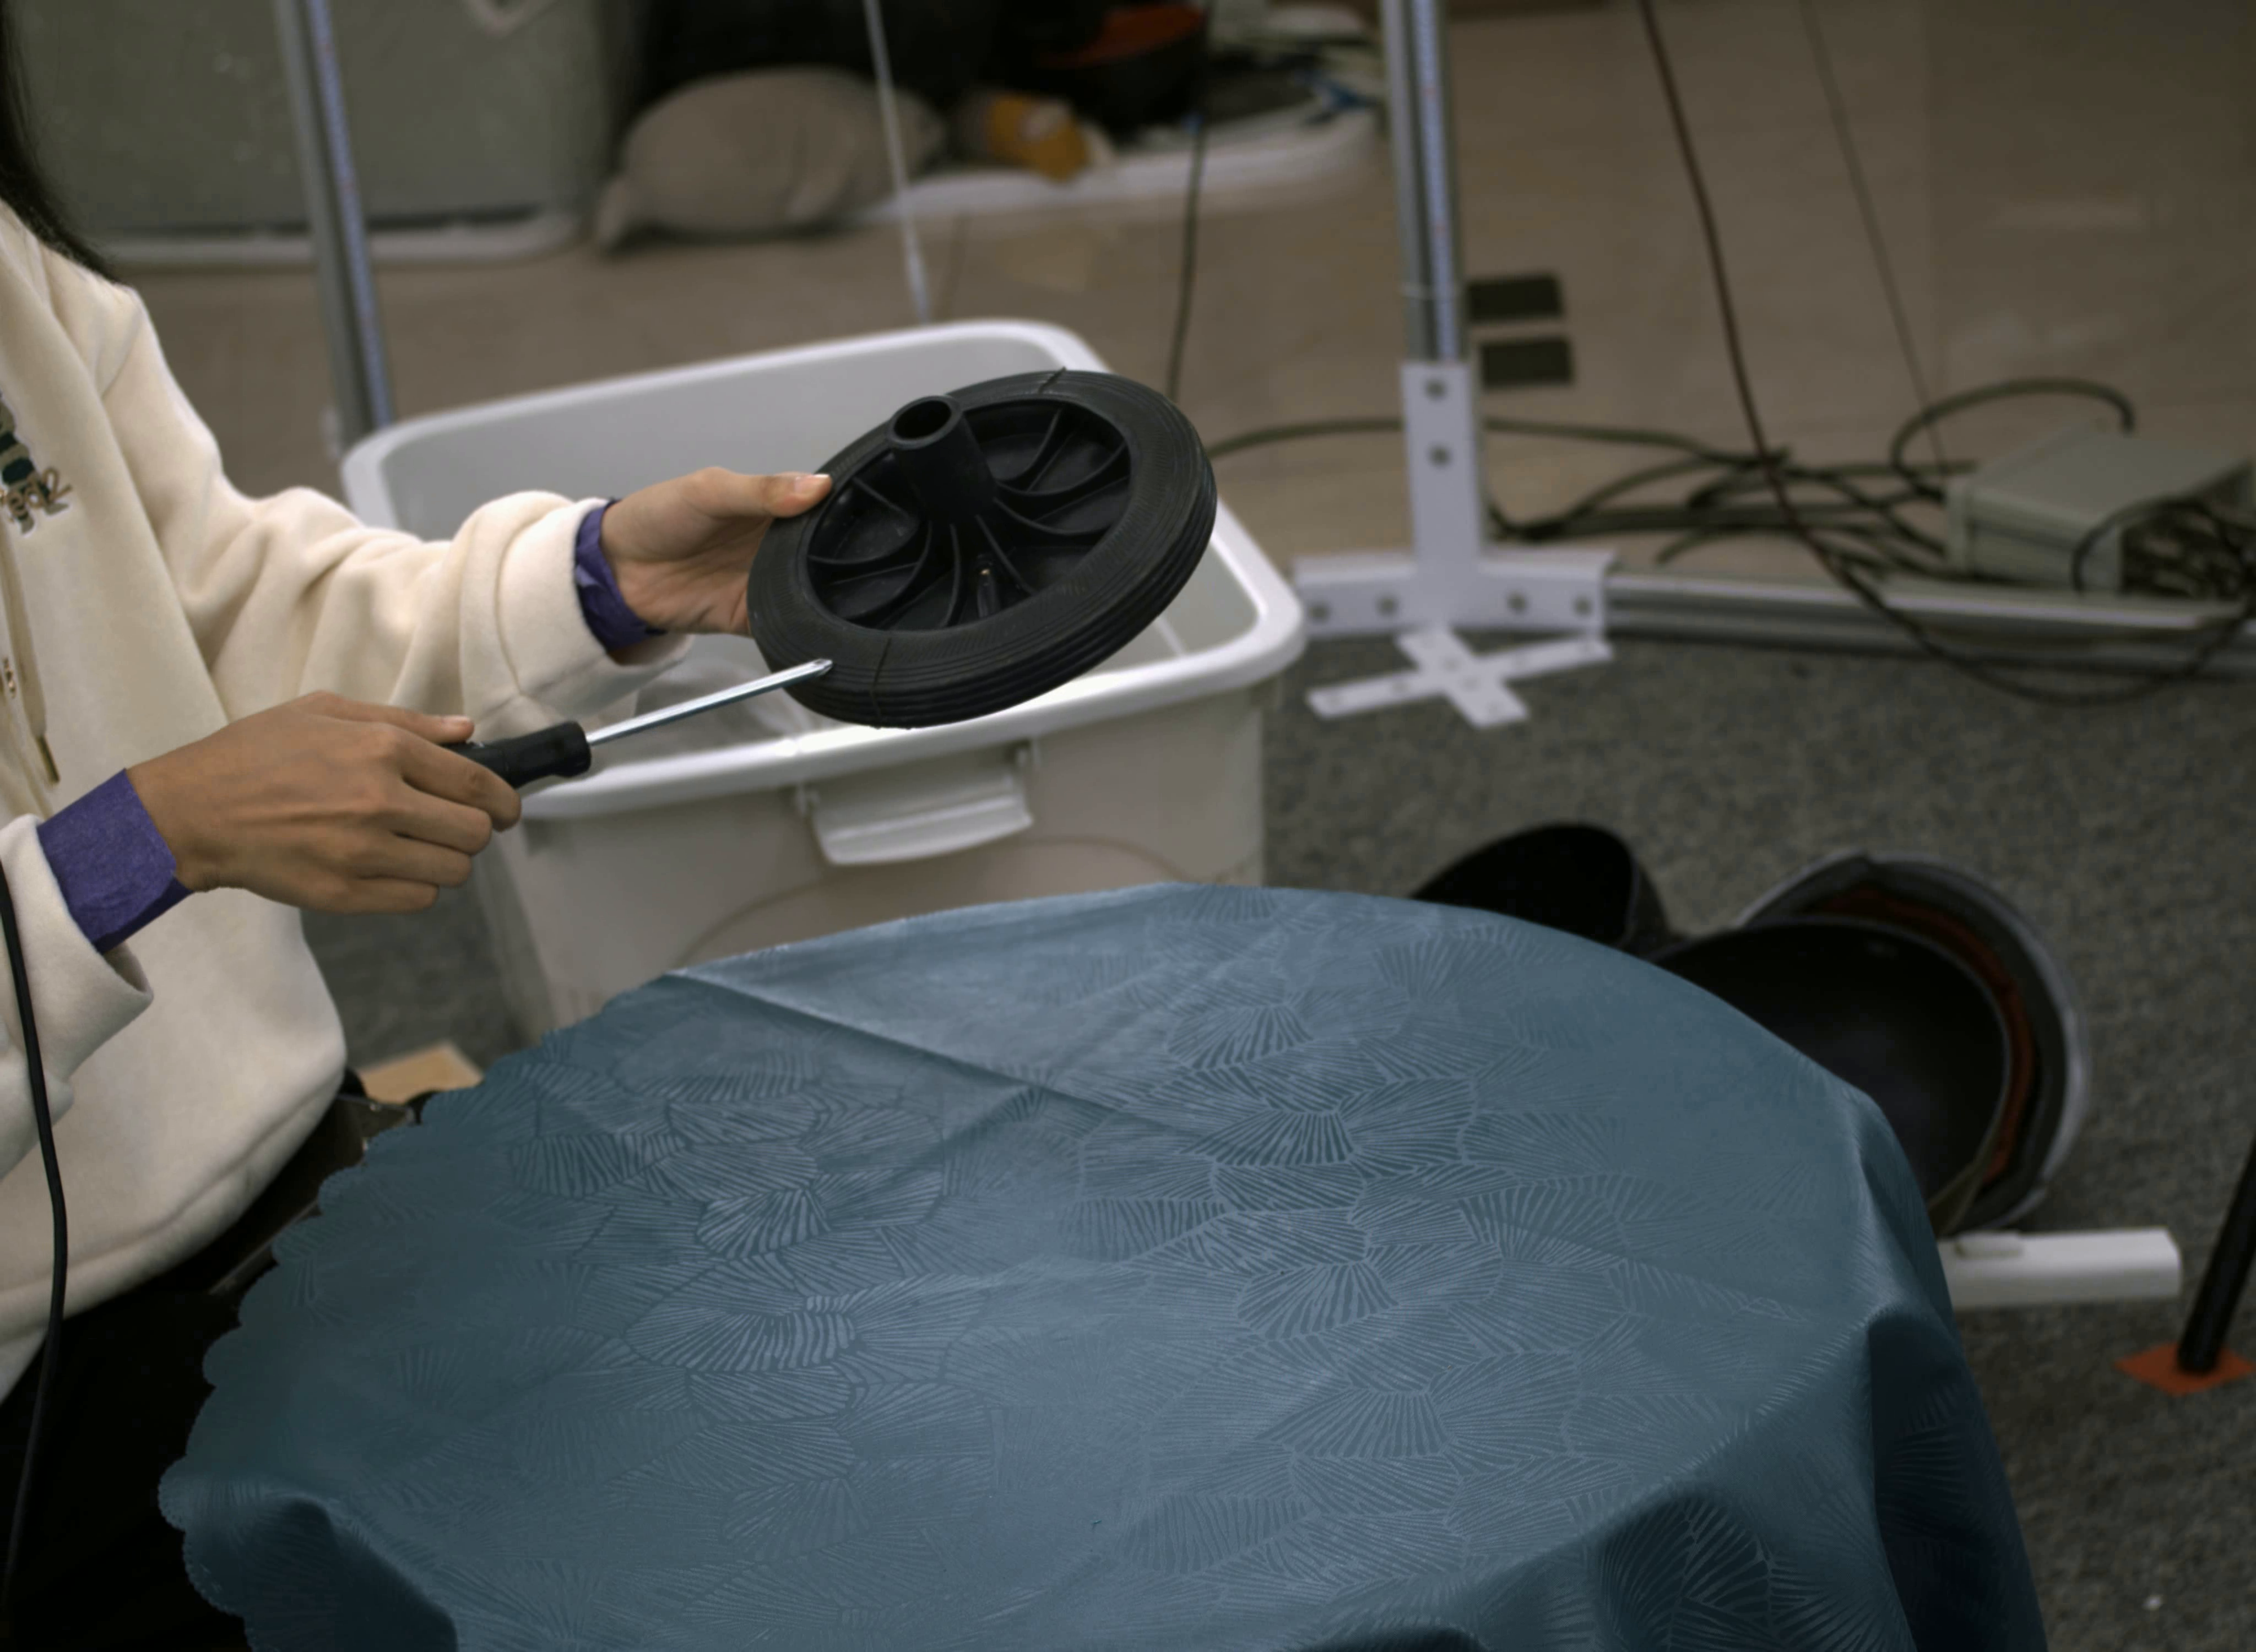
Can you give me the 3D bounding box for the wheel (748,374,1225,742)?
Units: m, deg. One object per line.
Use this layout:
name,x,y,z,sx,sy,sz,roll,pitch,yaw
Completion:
wheel,-0.061,-0.119,2.152,0.186,0.080,0.187,-34,43,-11

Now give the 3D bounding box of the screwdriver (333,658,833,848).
screwdriver,-0.201,-0.035,2.092,0.195,0.032,0.031,-22,29,-15
